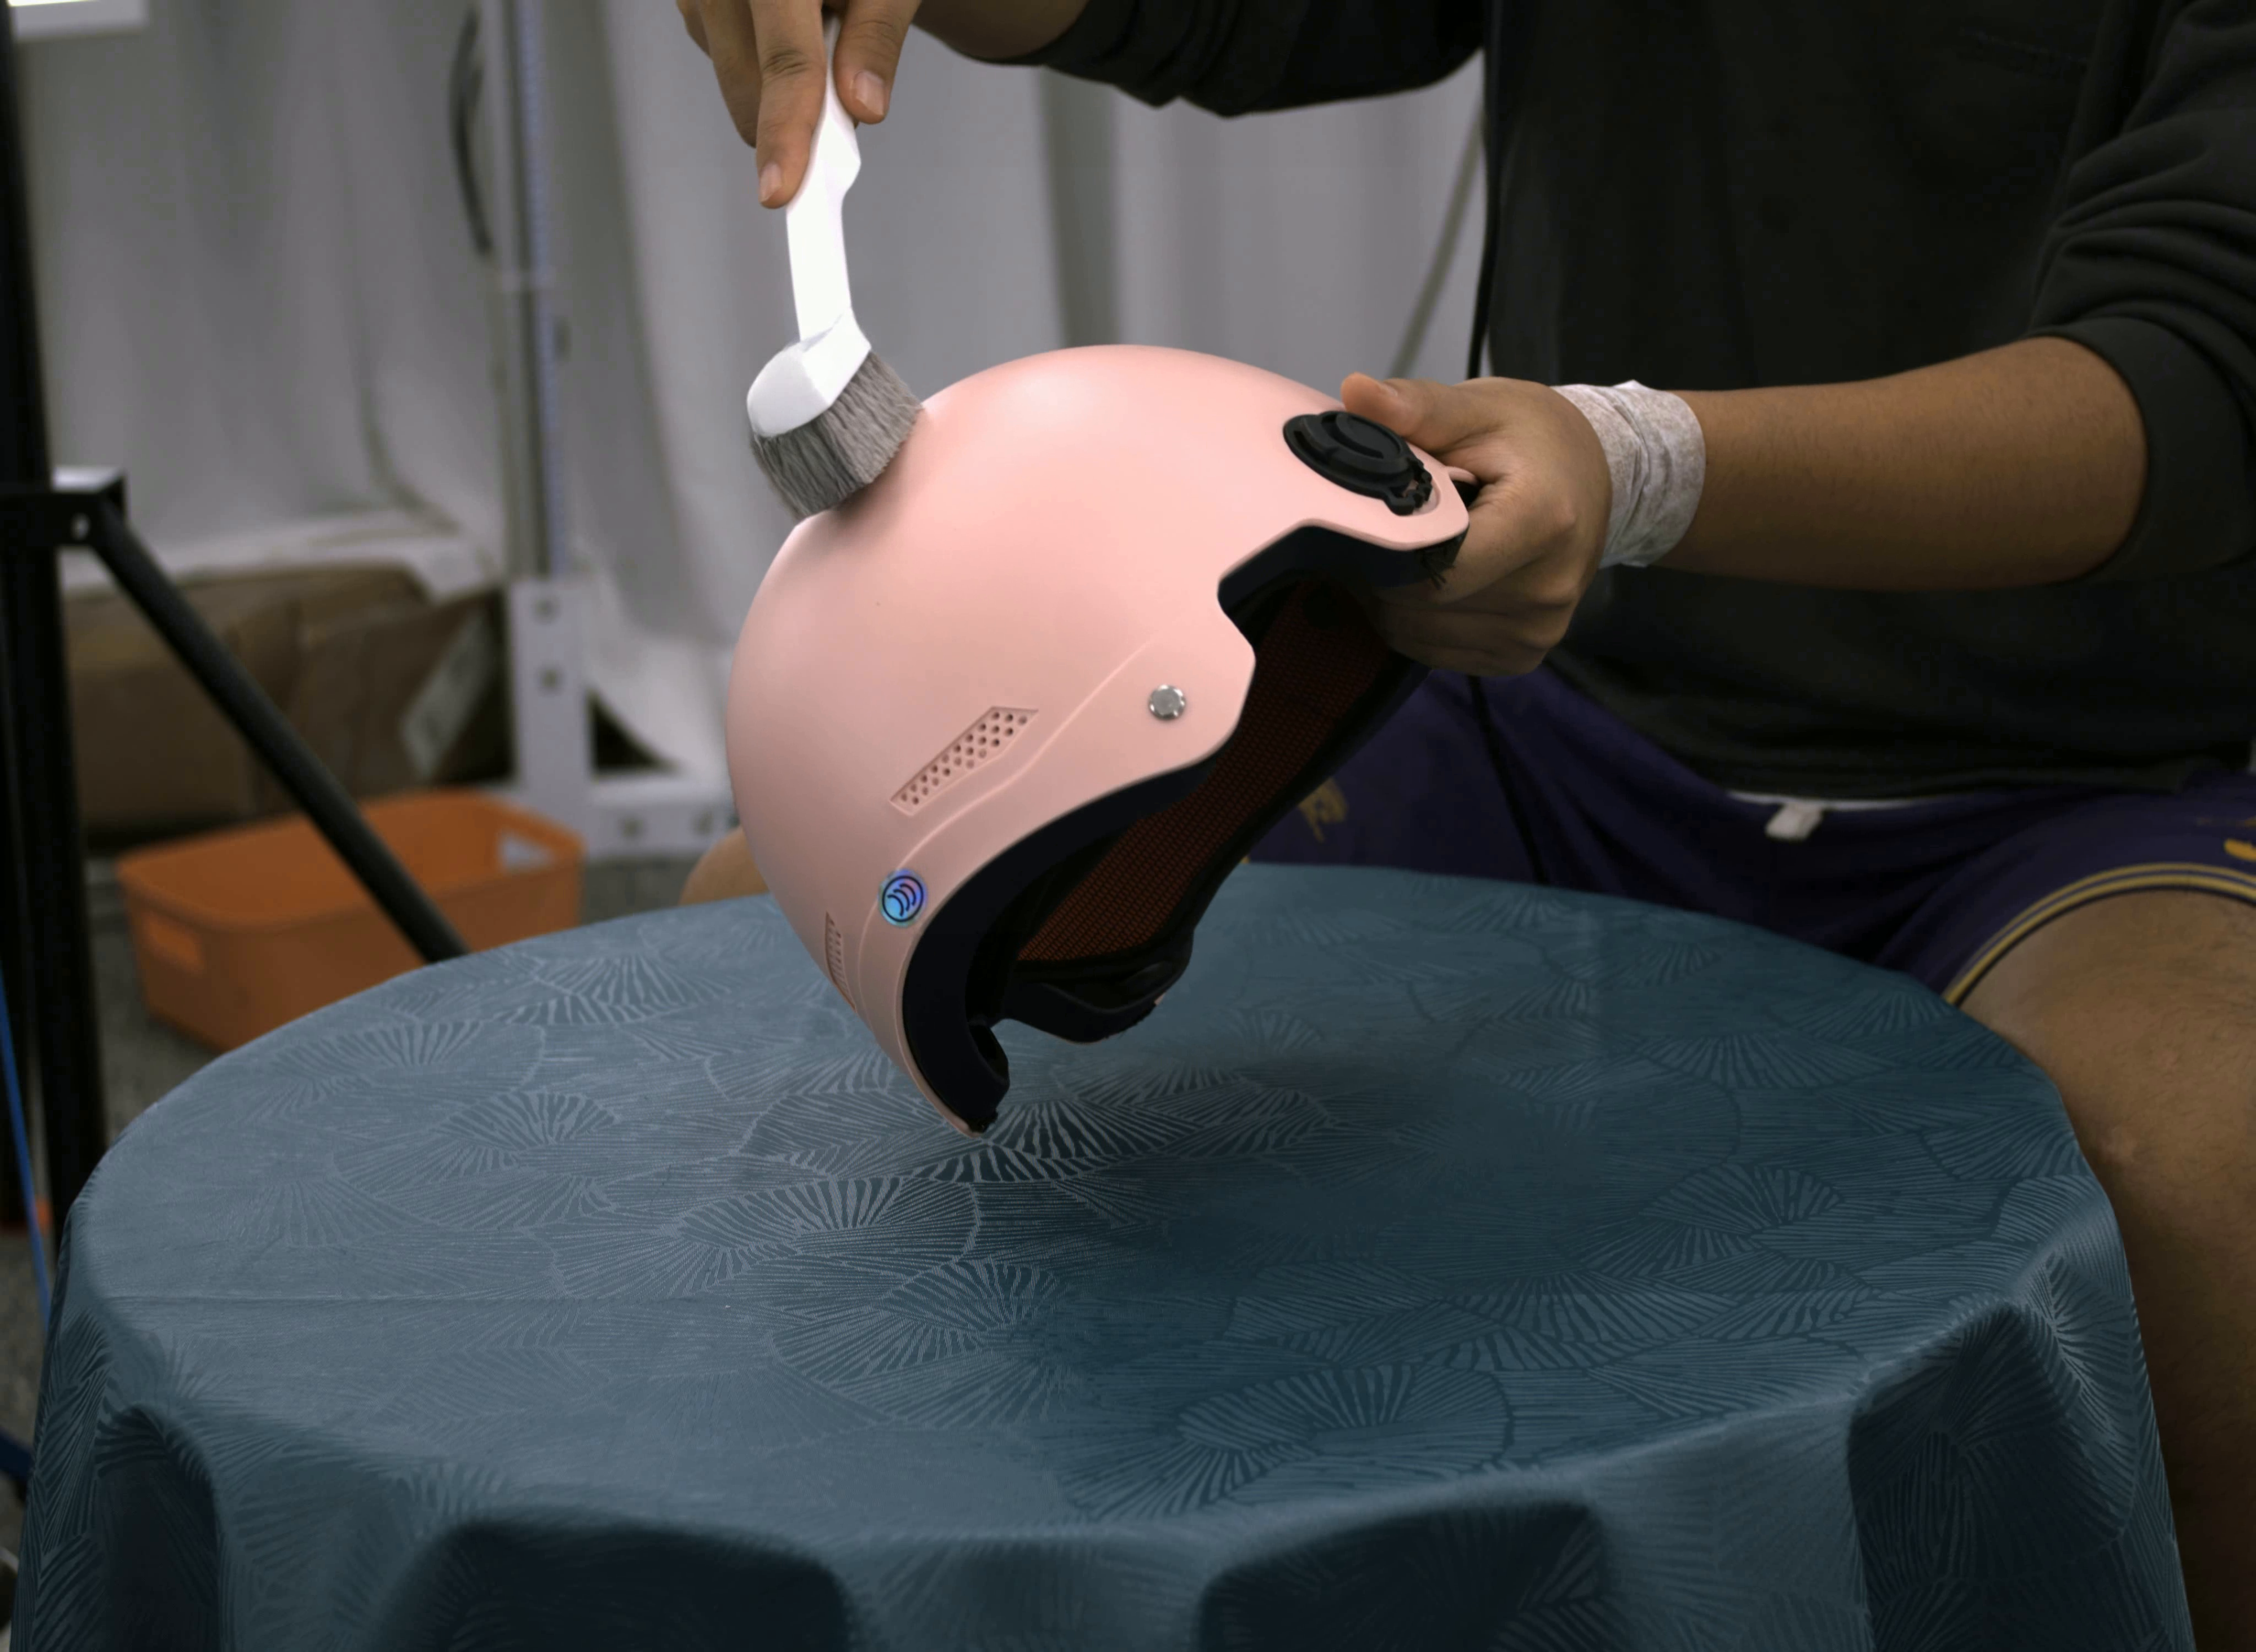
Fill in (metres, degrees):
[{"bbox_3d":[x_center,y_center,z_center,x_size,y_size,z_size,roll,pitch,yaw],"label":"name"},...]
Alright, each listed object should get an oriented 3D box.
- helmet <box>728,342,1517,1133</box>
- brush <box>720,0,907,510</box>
[{"bbox_3d":[-0.017,-0.051,1.579,0.161,0.235,0.261,44,41,15],"label":"helmet"},{"bbox_3d":[-0.086,-0.175,1.584,0.035,0.049,0.246,-29,32,22],"label":"brush"}]
